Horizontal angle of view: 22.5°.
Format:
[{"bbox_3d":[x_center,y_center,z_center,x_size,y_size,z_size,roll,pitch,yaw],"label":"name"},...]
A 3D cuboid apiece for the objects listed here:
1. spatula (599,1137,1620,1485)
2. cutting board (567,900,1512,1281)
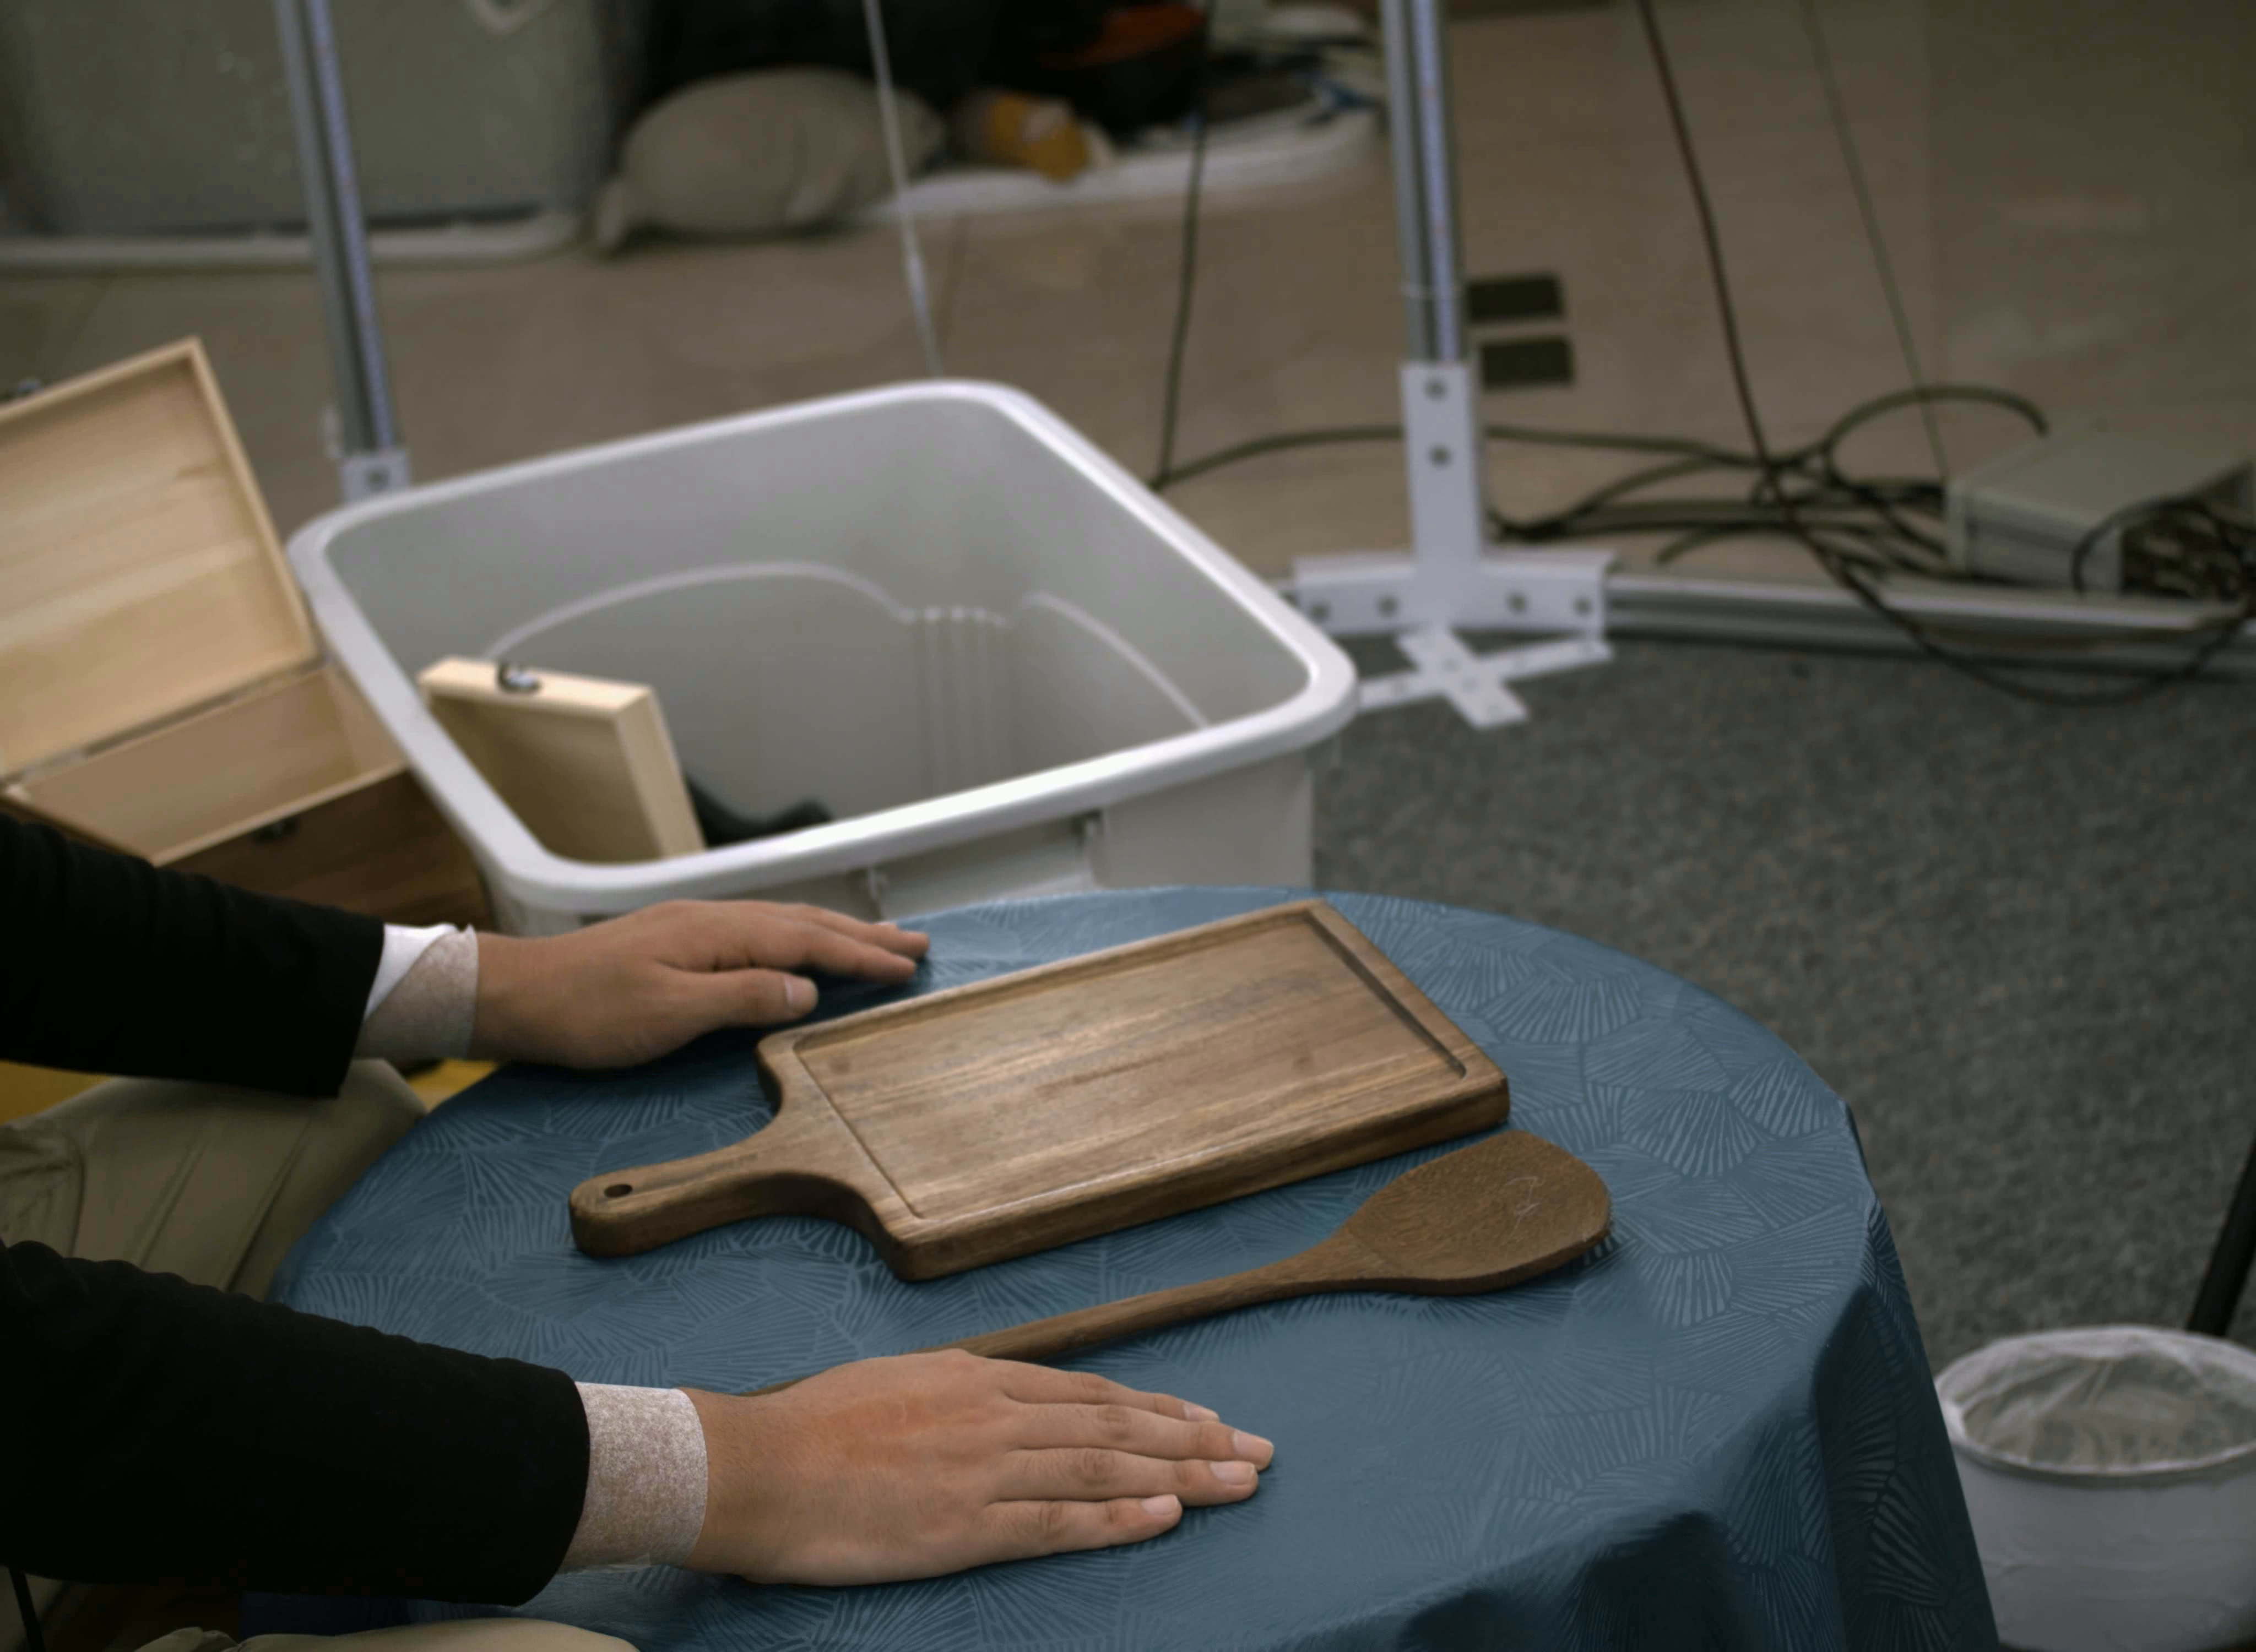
[{"bbox_3d":[-0.006,0.179,2.047,0.384,0.016,0.095,-14,25,-15],"label":"spatula"},{"bbox_3d":[-0.048,0.110,2.197,0.351,0.023,0.198,-14,26,-16],"label":"cutting board"}]
